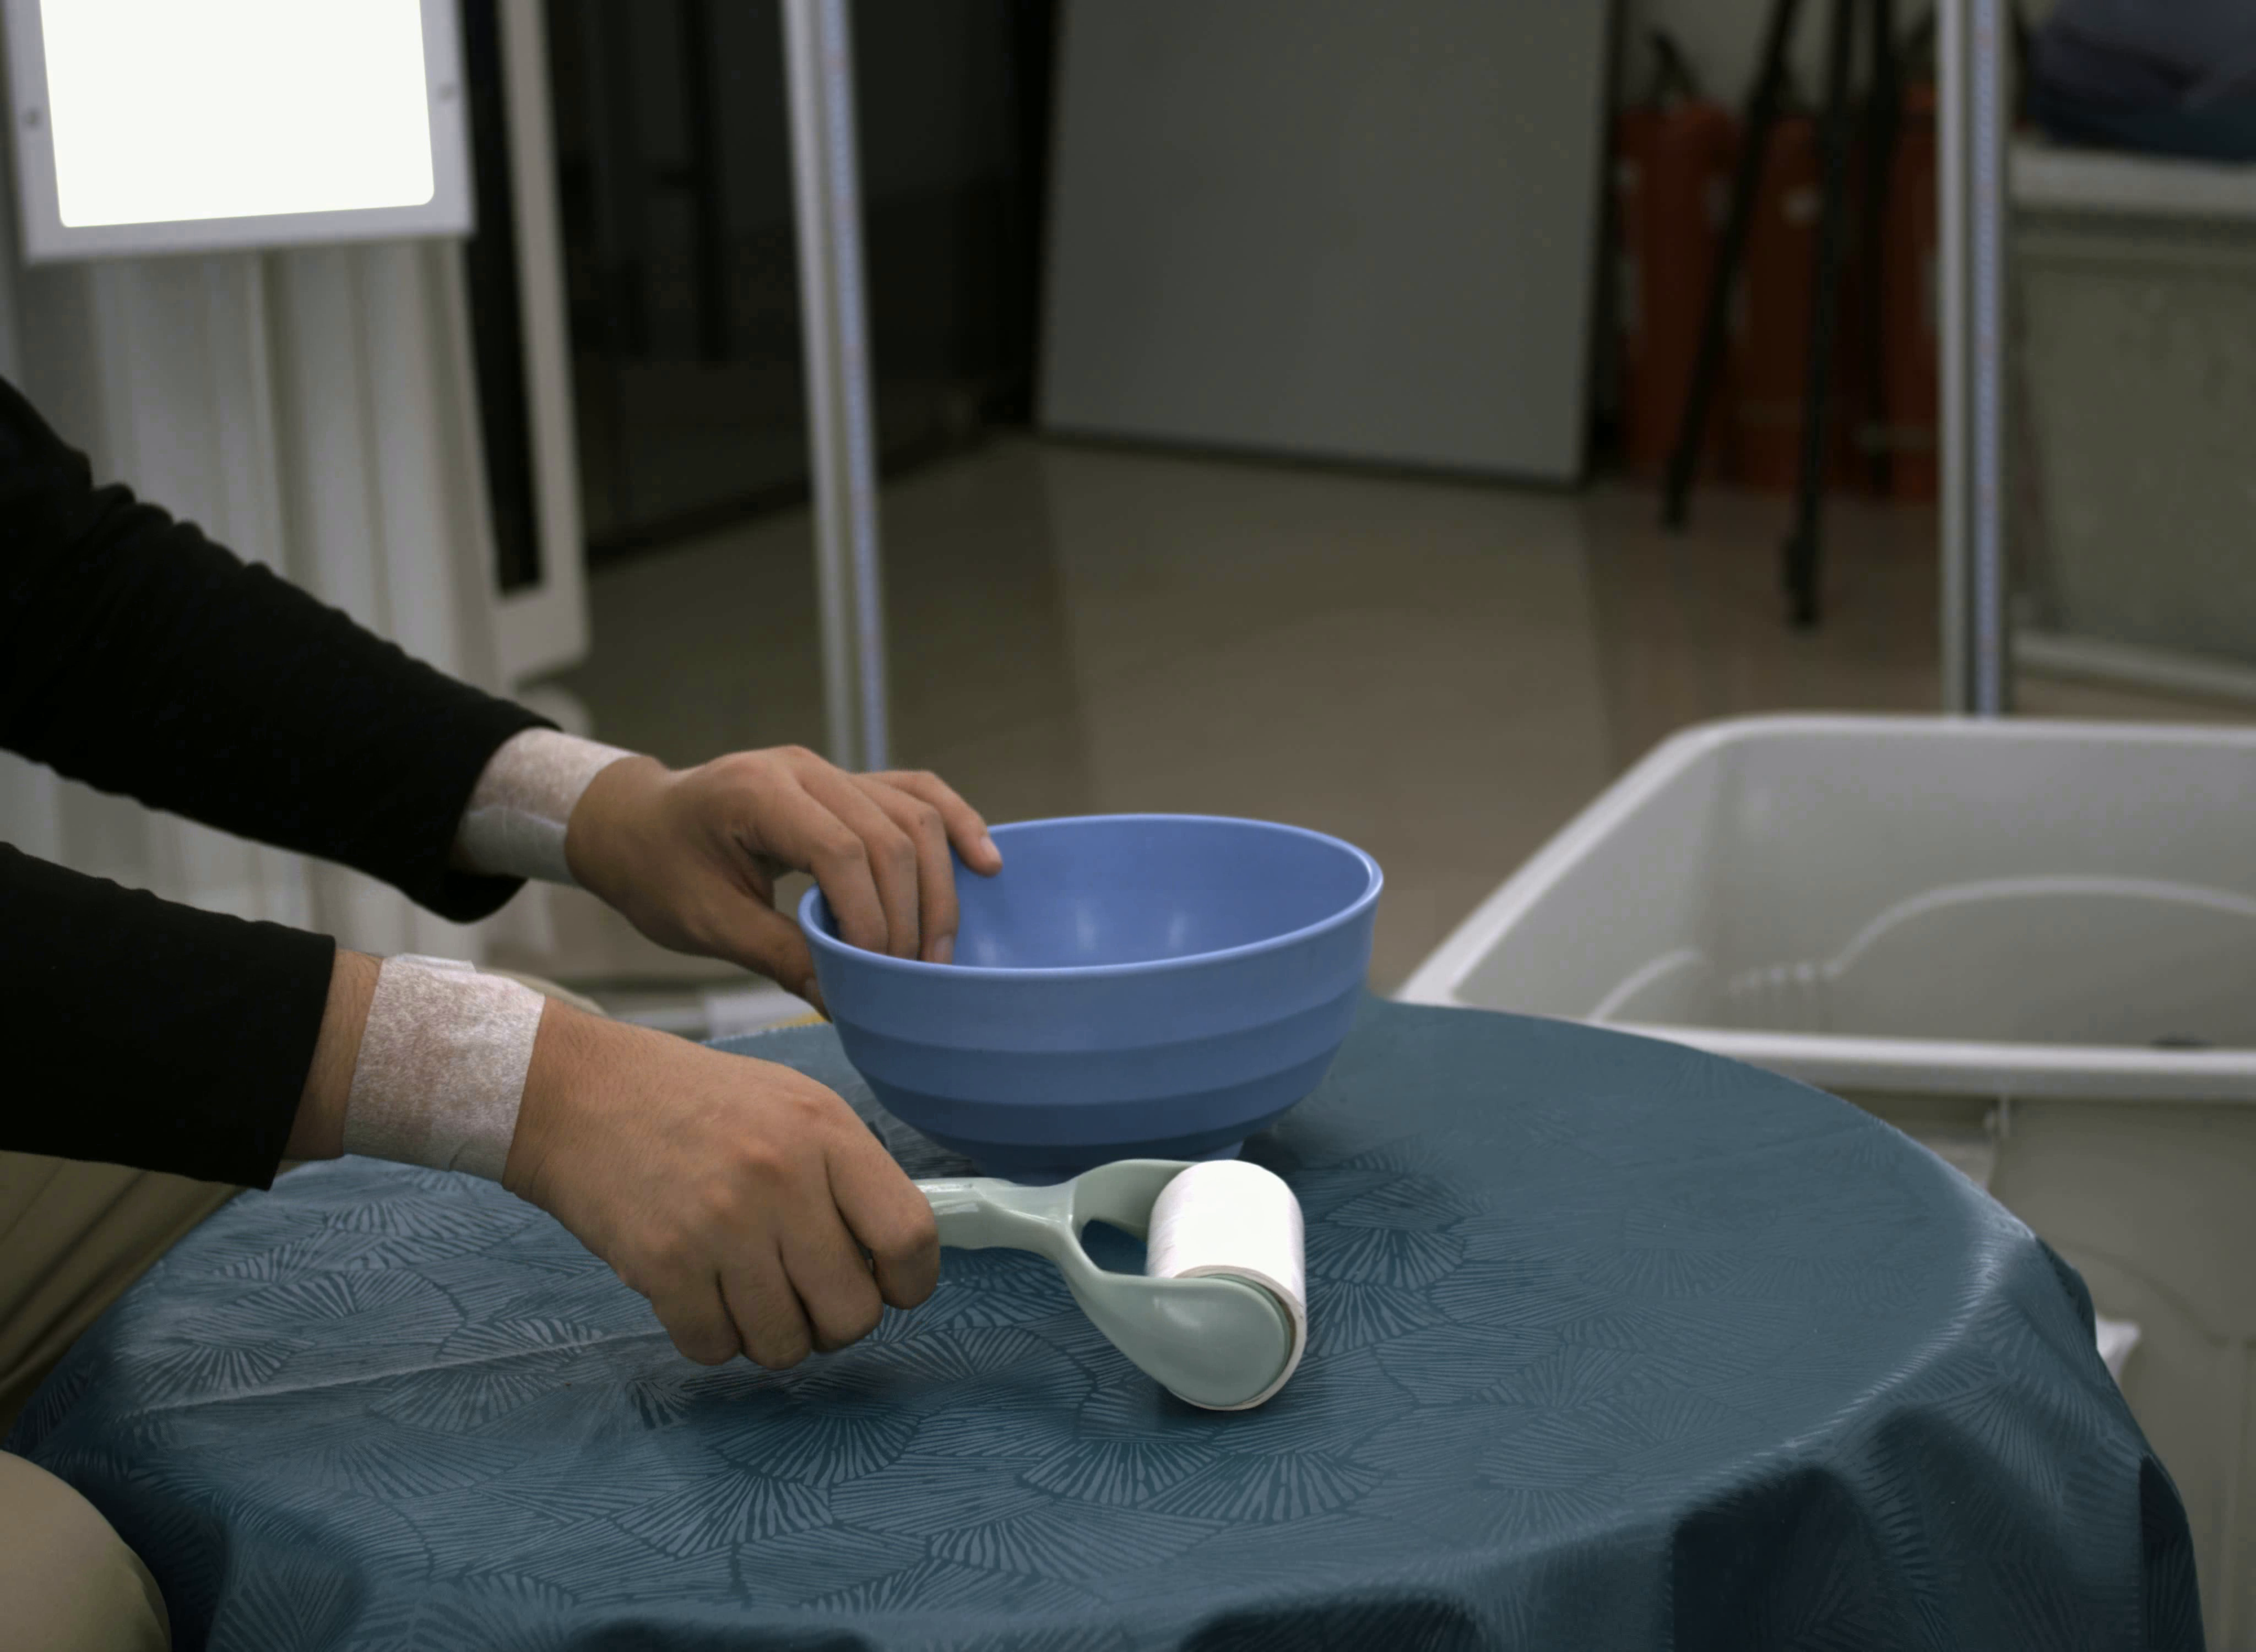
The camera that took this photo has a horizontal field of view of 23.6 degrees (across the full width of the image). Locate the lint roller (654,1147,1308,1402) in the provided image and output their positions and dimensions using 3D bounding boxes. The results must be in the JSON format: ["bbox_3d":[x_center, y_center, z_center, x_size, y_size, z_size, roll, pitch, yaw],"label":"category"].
[{"bbox_3d":[-0.043,0.128,1.615,0.195,0.049,0.116,5,15,2],"label":"lint roller"}]

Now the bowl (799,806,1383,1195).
[{"bbox_3d":[-0.010,0.065,1.798,0.194,0.096,0.197,-4,15,0],"label":"bowl"}]
